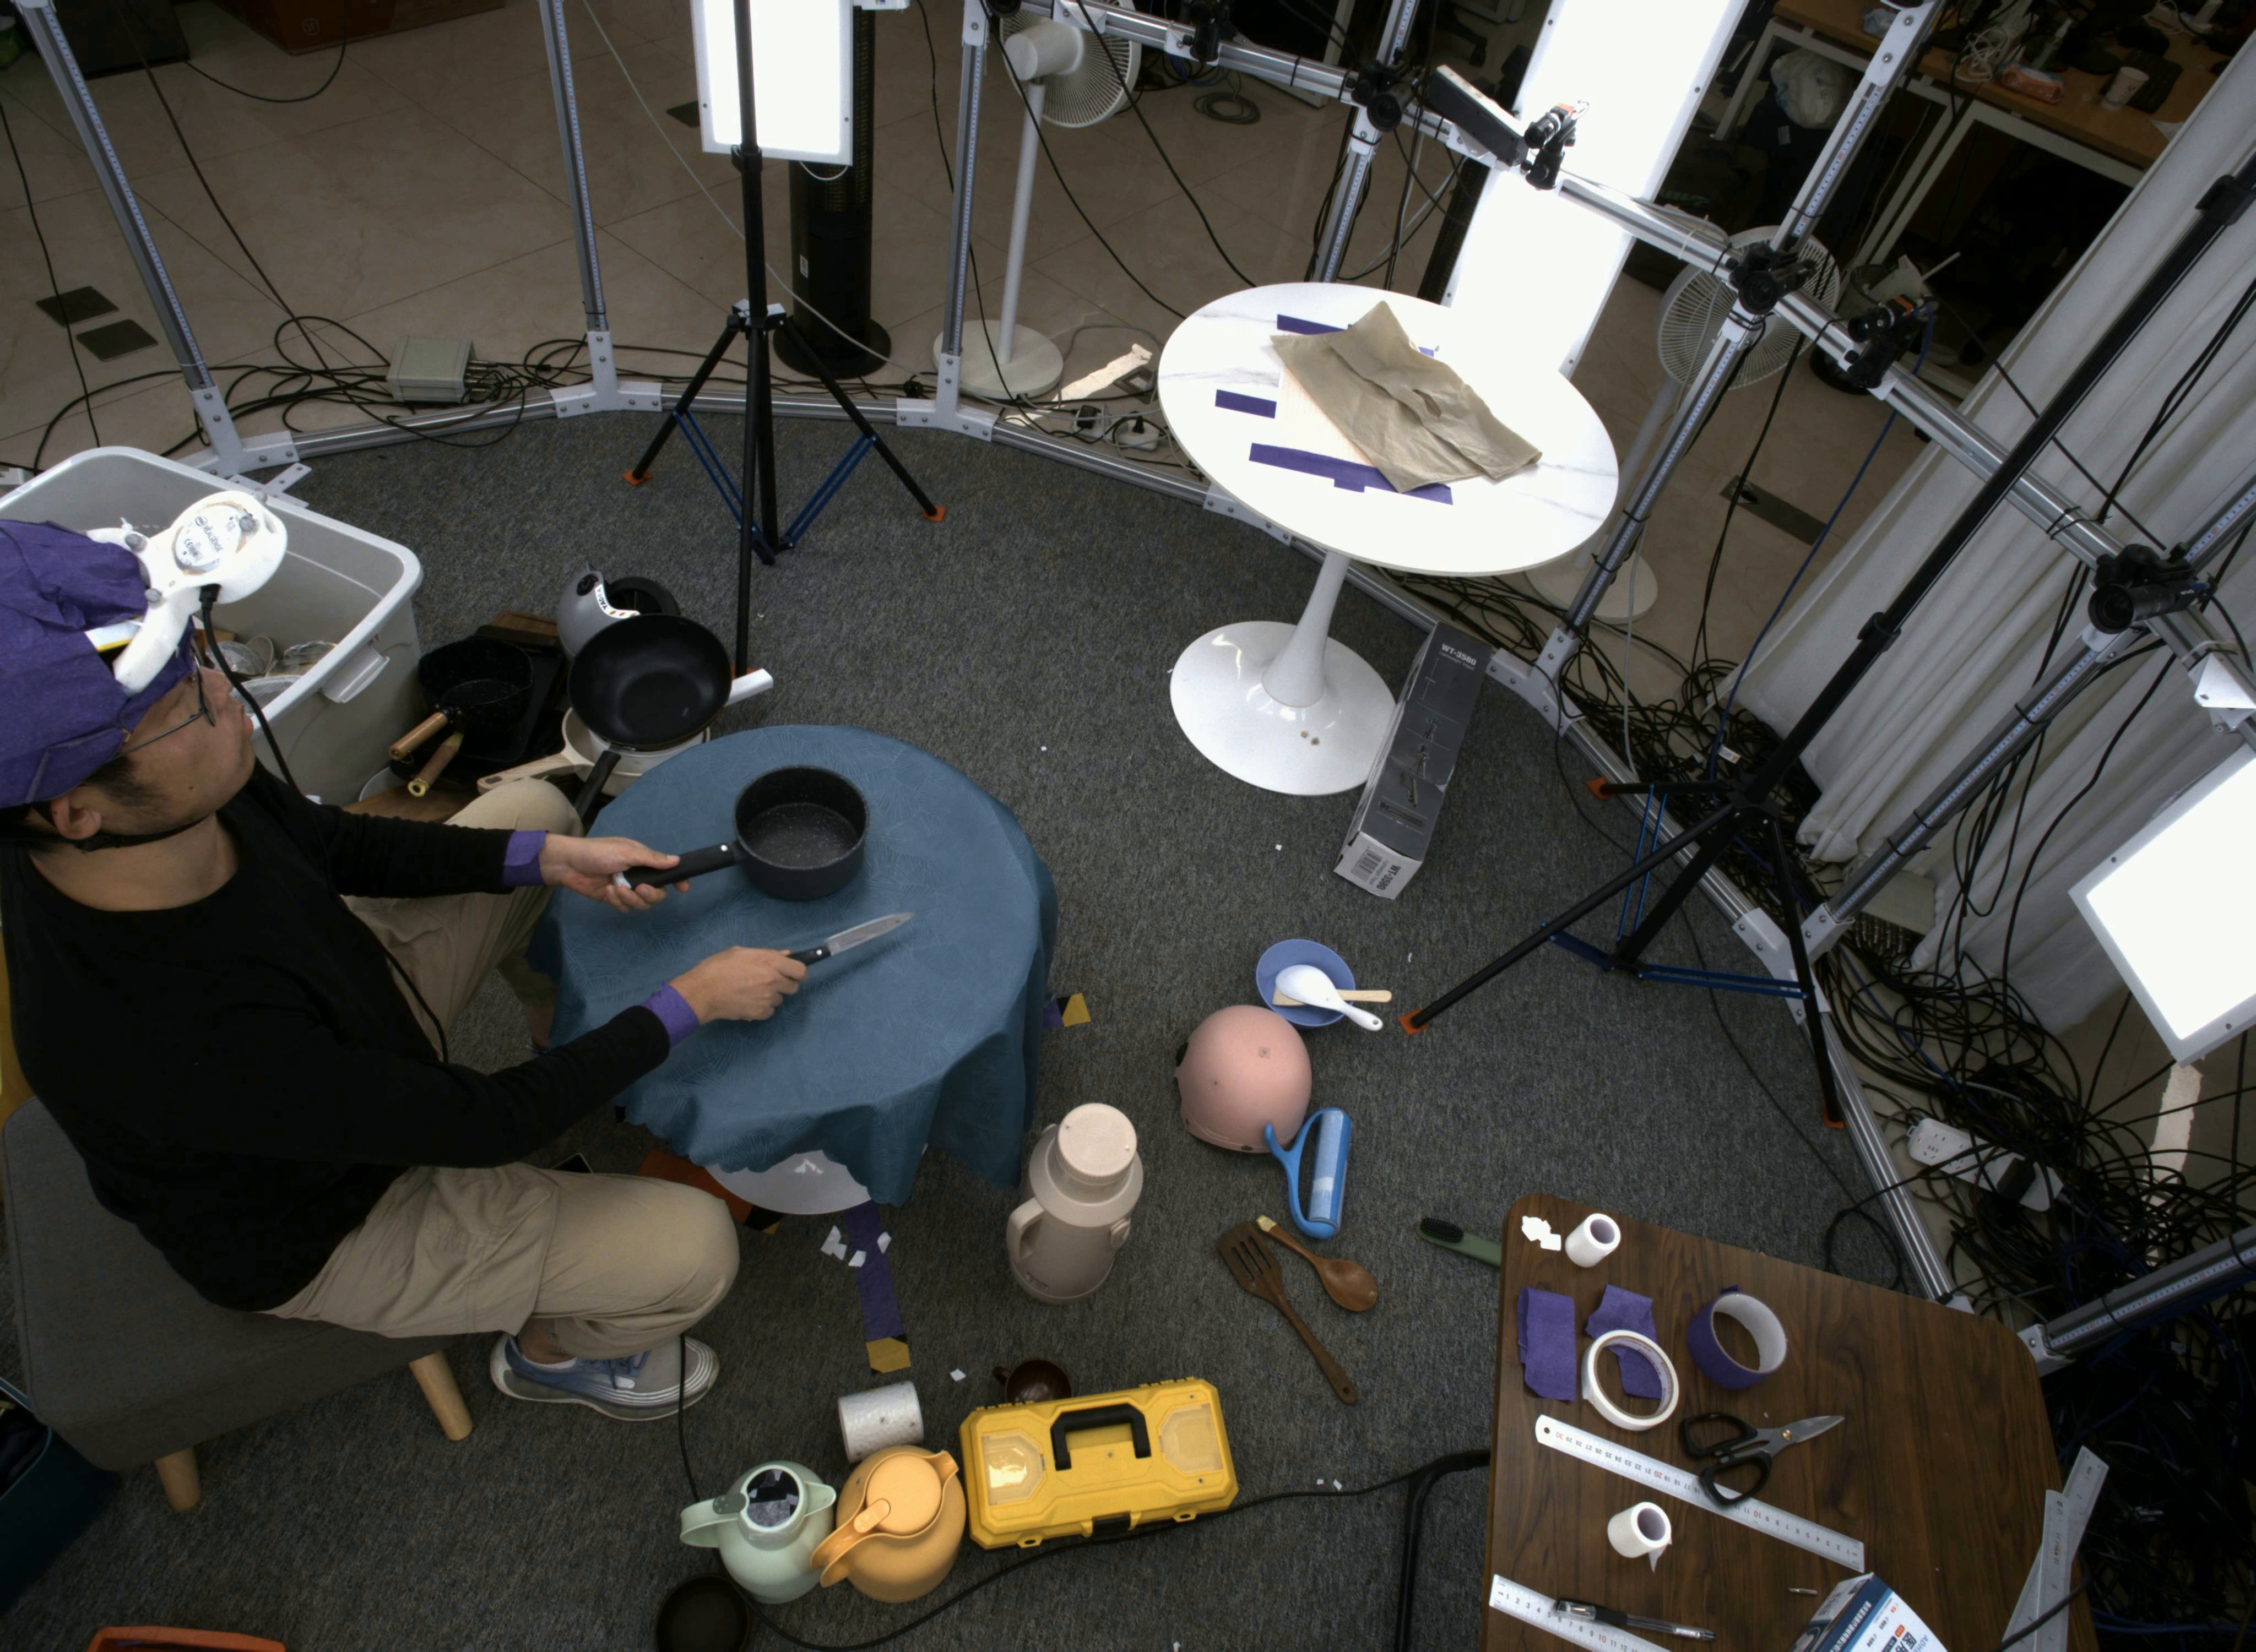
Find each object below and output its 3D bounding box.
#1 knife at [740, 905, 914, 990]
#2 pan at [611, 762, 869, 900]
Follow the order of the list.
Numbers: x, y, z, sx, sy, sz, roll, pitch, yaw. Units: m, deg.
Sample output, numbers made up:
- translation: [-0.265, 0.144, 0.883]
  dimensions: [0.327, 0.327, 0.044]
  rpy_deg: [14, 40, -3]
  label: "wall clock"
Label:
- translation: [-0.360, 0.143, 1.577]
  dimensions: [0.239, 0.016, 0.024]
  rpy_deg: [-25, 79, -34]
  label: "knife"
- translation: [-0.483, 0.031, 1.621]
  dimensions: [0.331, 0.088, 0.167]
  rpy_deg: [-20, 60, -30]
  label: "pan"
